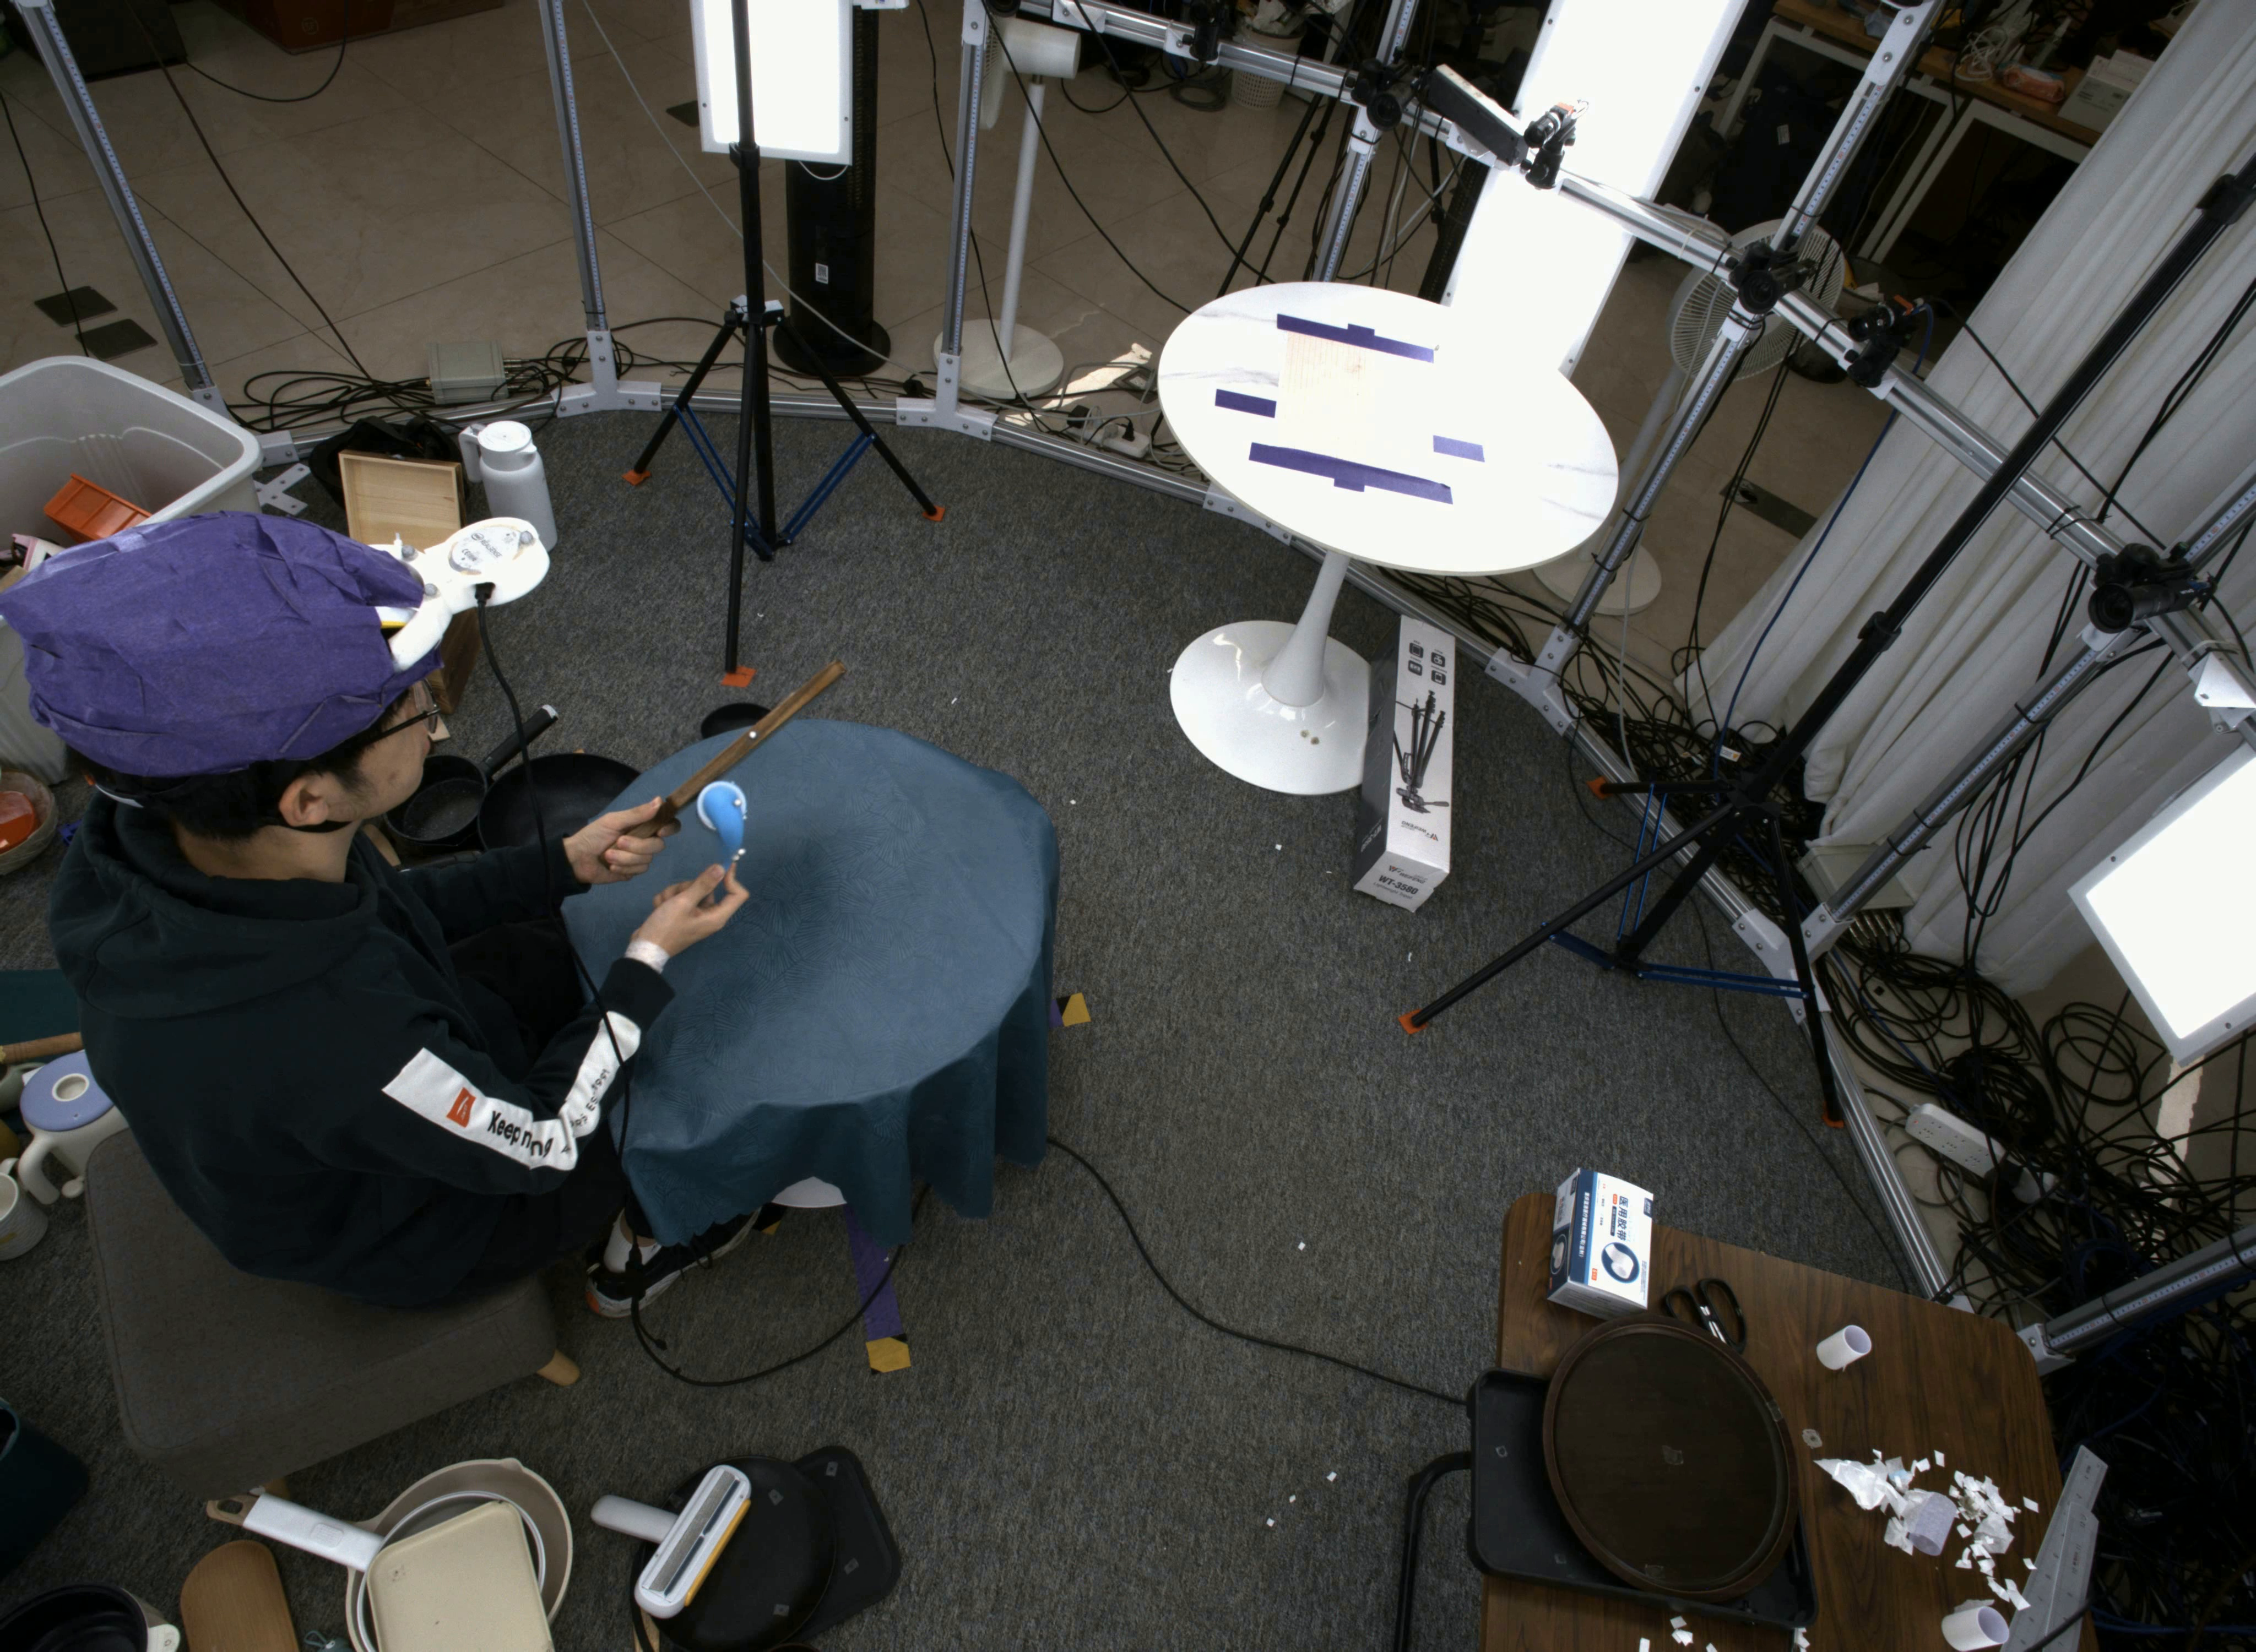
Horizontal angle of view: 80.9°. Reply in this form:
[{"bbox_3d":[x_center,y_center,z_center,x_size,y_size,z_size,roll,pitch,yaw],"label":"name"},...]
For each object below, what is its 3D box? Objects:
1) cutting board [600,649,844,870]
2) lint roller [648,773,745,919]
[{"bbox_3d":[-0.479,-0.075,1.511,0.352,0.198,0.023,-43,100,-15],"label":"cutting board"},{"bbox_3d":[-0.490,0.029,1.488,0.069,0.224,0.181,22,85,-16],"label":"lint roller"}]
